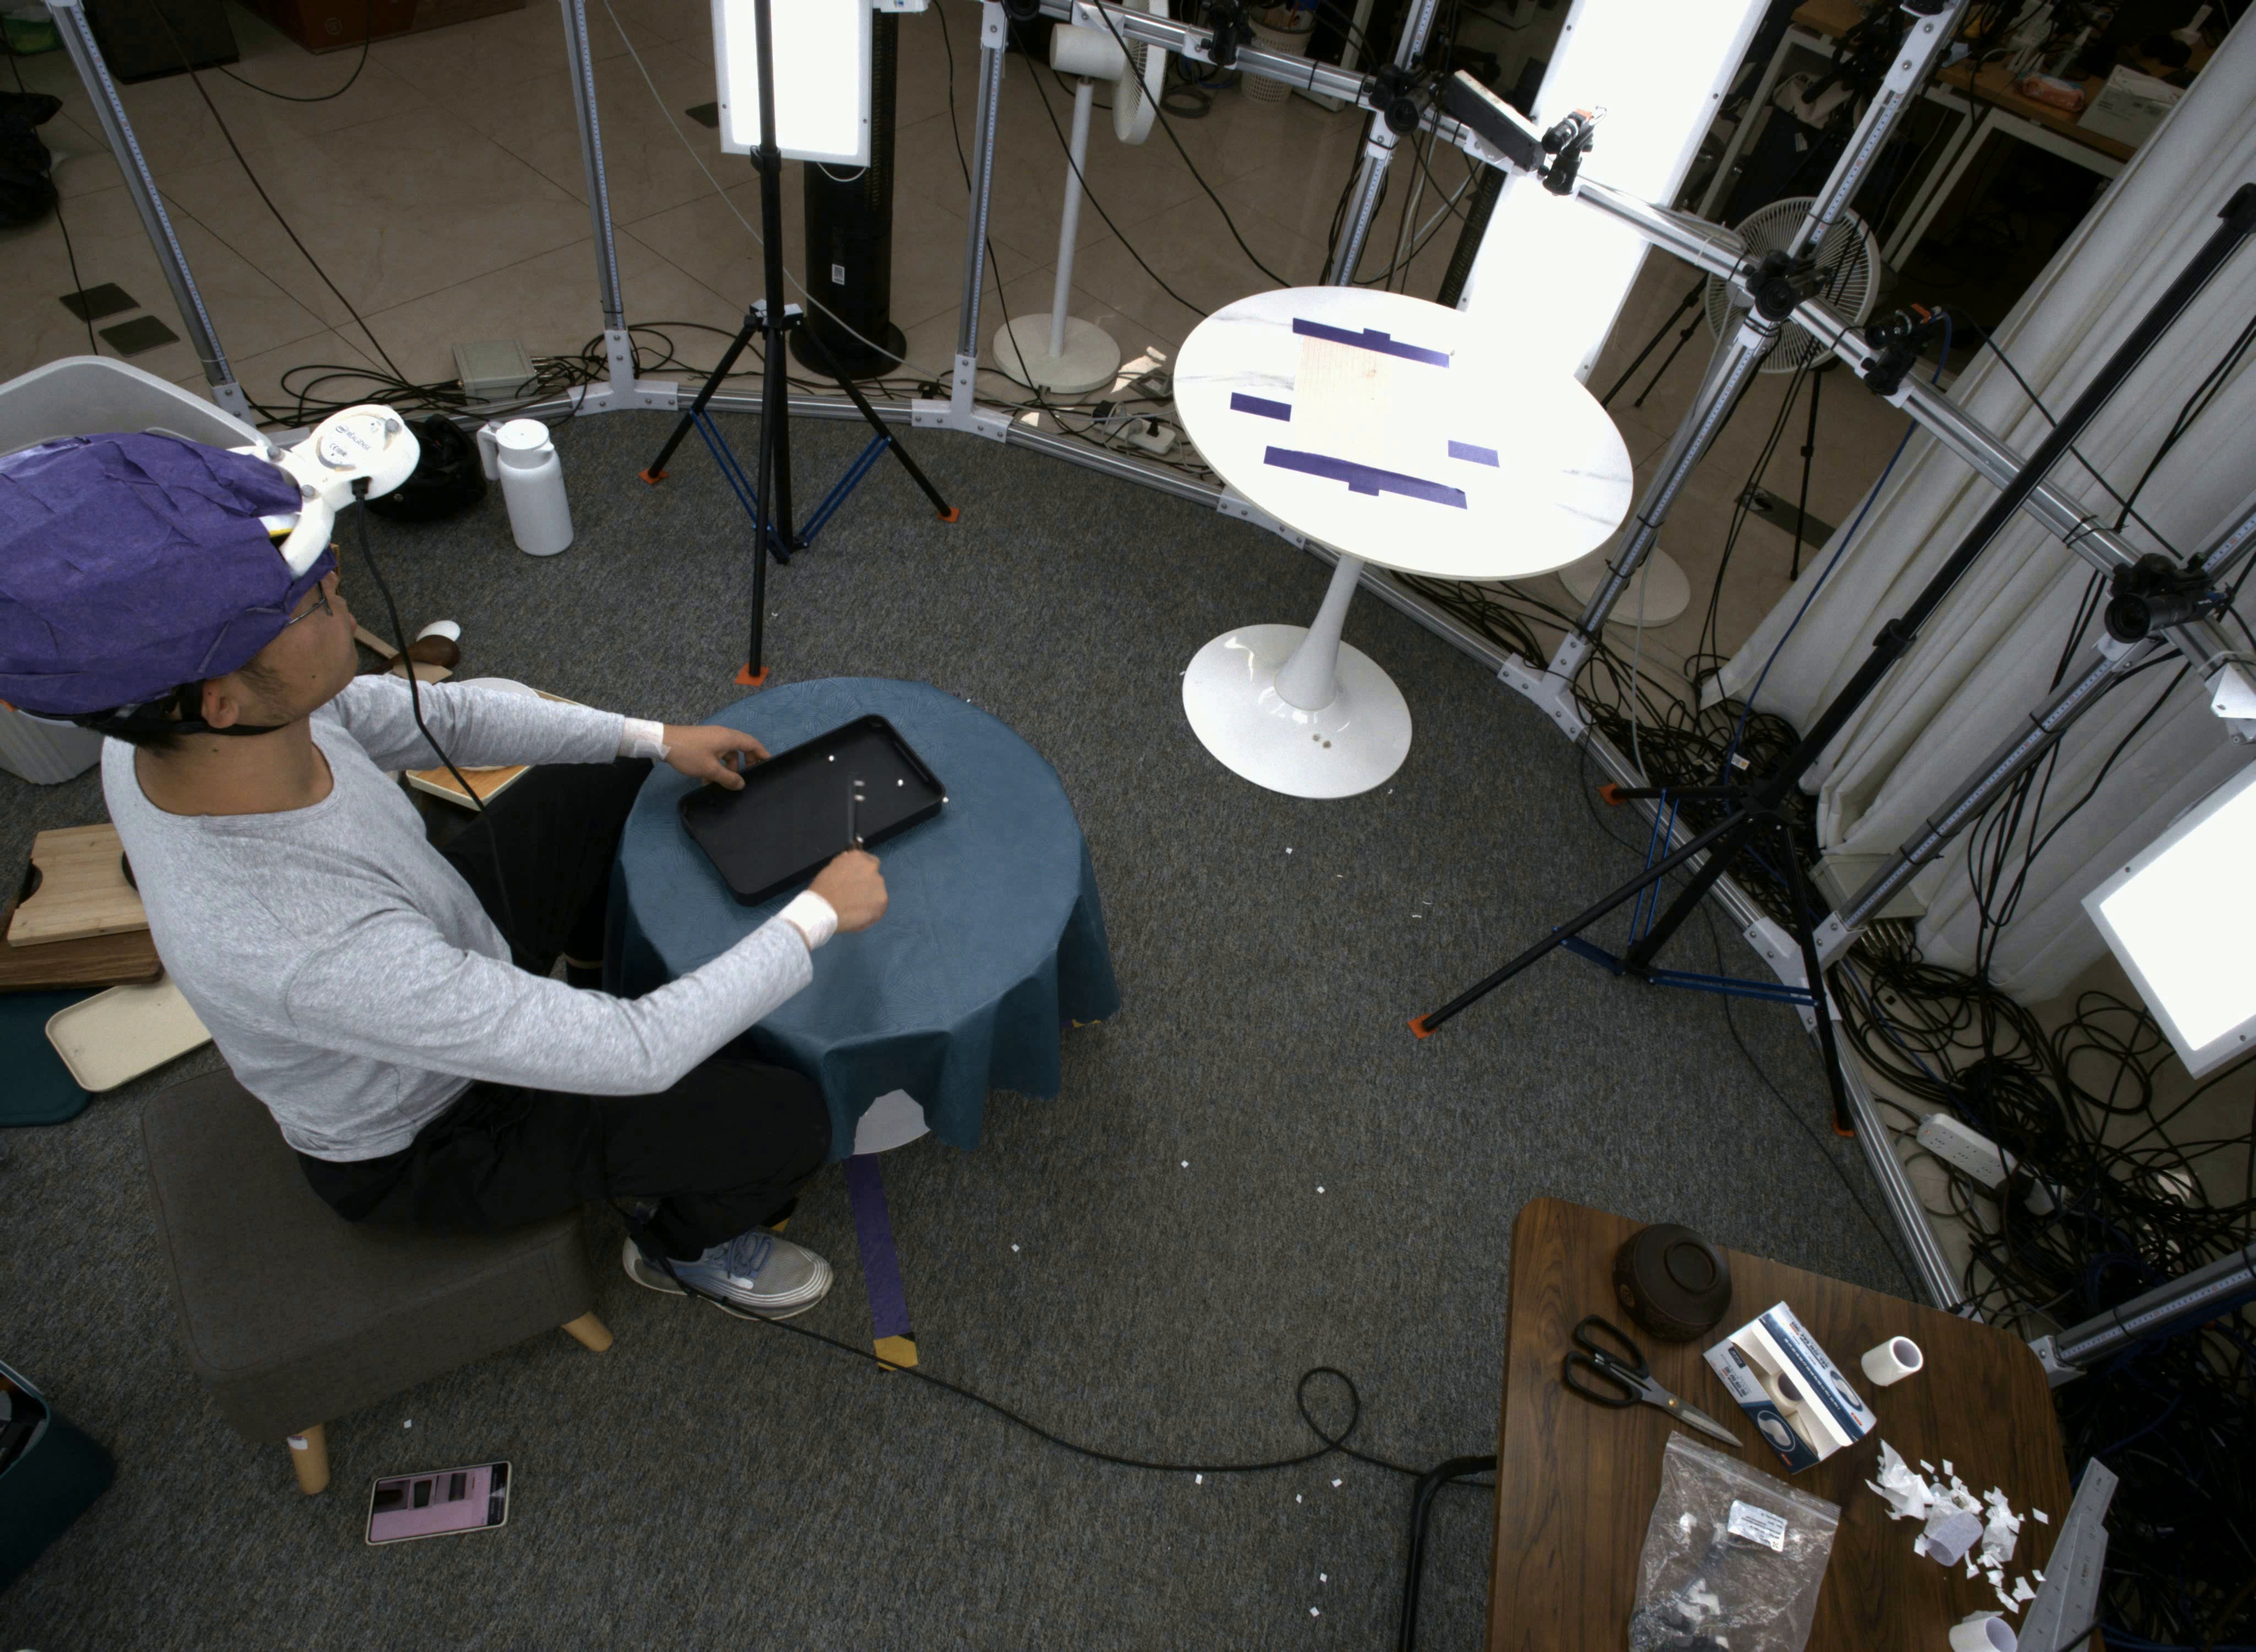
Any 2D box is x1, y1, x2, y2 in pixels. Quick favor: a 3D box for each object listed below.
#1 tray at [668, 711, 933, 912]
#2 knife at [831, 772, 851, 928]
[{"bbox_3d":[-0.433,-0.026,1.730,0.319,0.038,0.180,-33,67,-31],"label":"tray"},{"bbox_3d":[-0.352,0.021,1.599,0.020,0.051,0.281,10,38,-19],"label":"knife"}]
